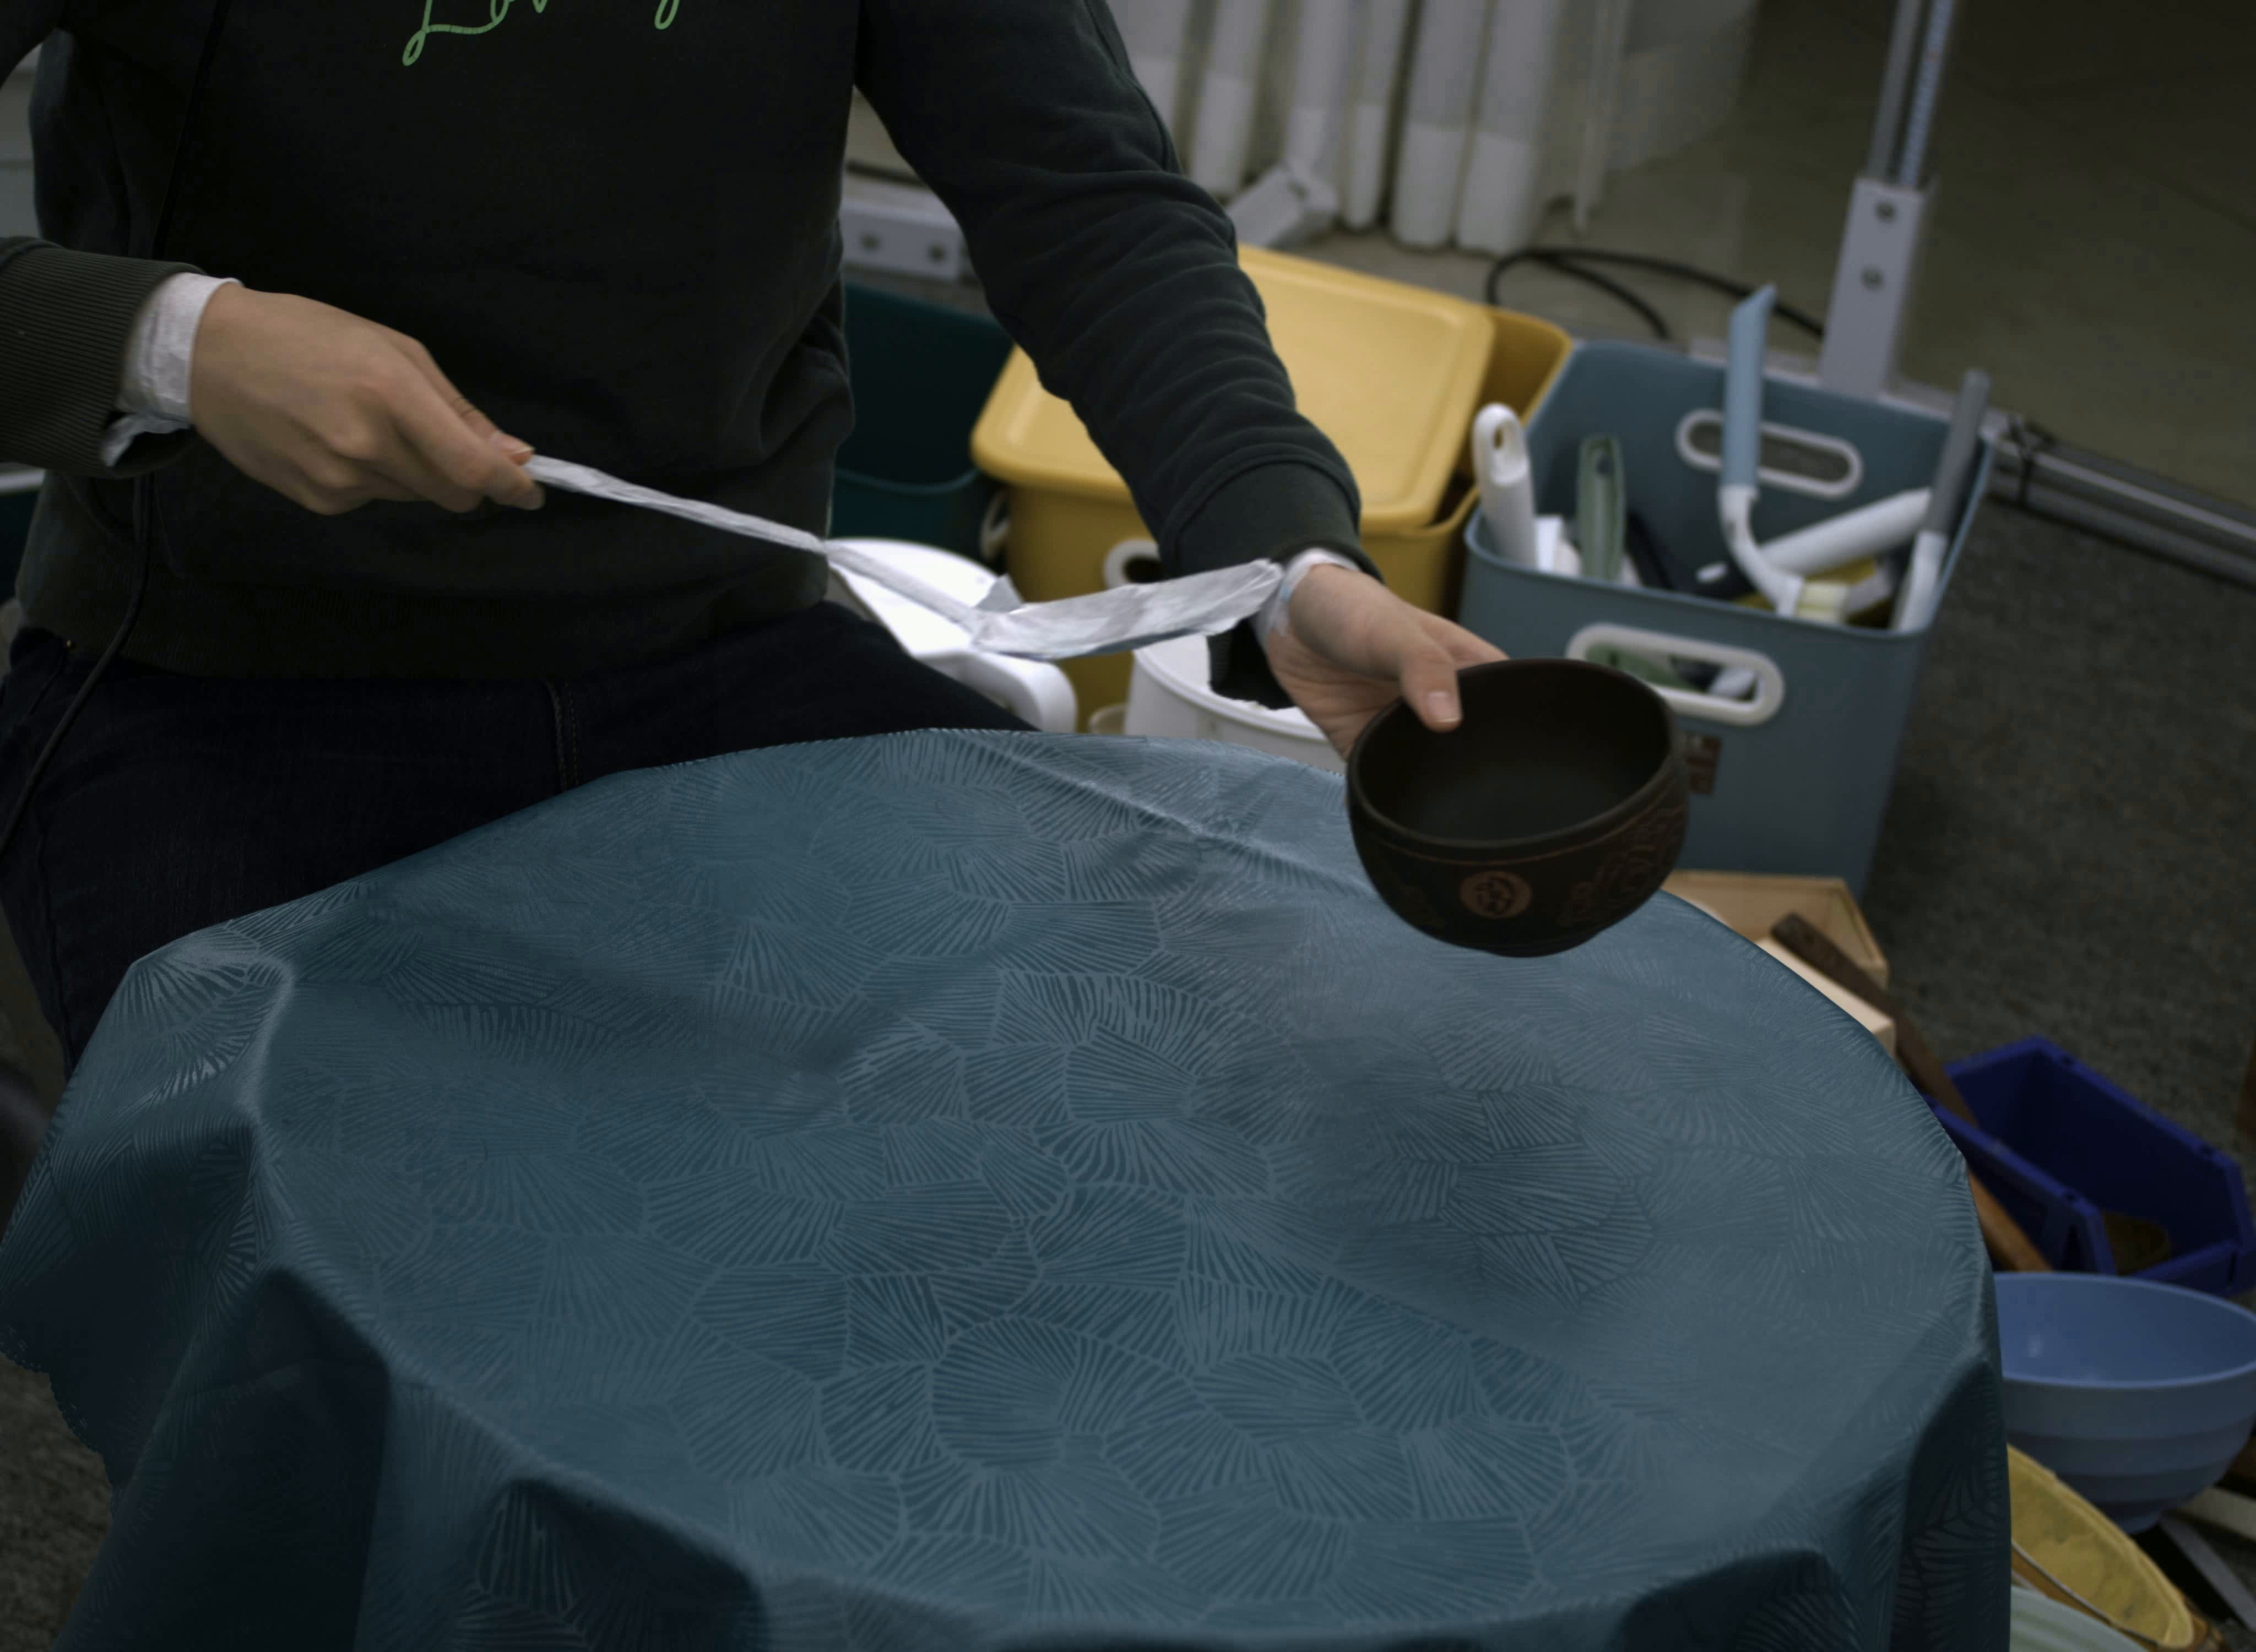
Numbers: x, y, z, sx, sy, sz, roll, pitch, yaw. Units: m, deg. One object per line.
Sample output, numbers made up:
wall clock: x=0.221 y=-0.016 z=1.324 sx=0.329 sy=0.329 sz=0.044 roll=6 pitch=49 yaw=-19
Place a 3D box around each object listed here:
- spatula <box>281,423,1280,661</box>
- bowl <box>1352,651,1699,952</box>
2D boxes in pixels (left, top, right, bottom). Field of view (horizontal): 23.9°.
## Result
spatula: x=-0.128 y=-0.105 z=1.806 sx=0.365 sy=0.044 sz=0.098 roll=16 pitch=21 yaw=15
bowl: x=0.138 y=-0.001 z=1.828 sx=0.118 sy=0.069 sz=0.119 roll=-9 pitch=32 yaw=5
